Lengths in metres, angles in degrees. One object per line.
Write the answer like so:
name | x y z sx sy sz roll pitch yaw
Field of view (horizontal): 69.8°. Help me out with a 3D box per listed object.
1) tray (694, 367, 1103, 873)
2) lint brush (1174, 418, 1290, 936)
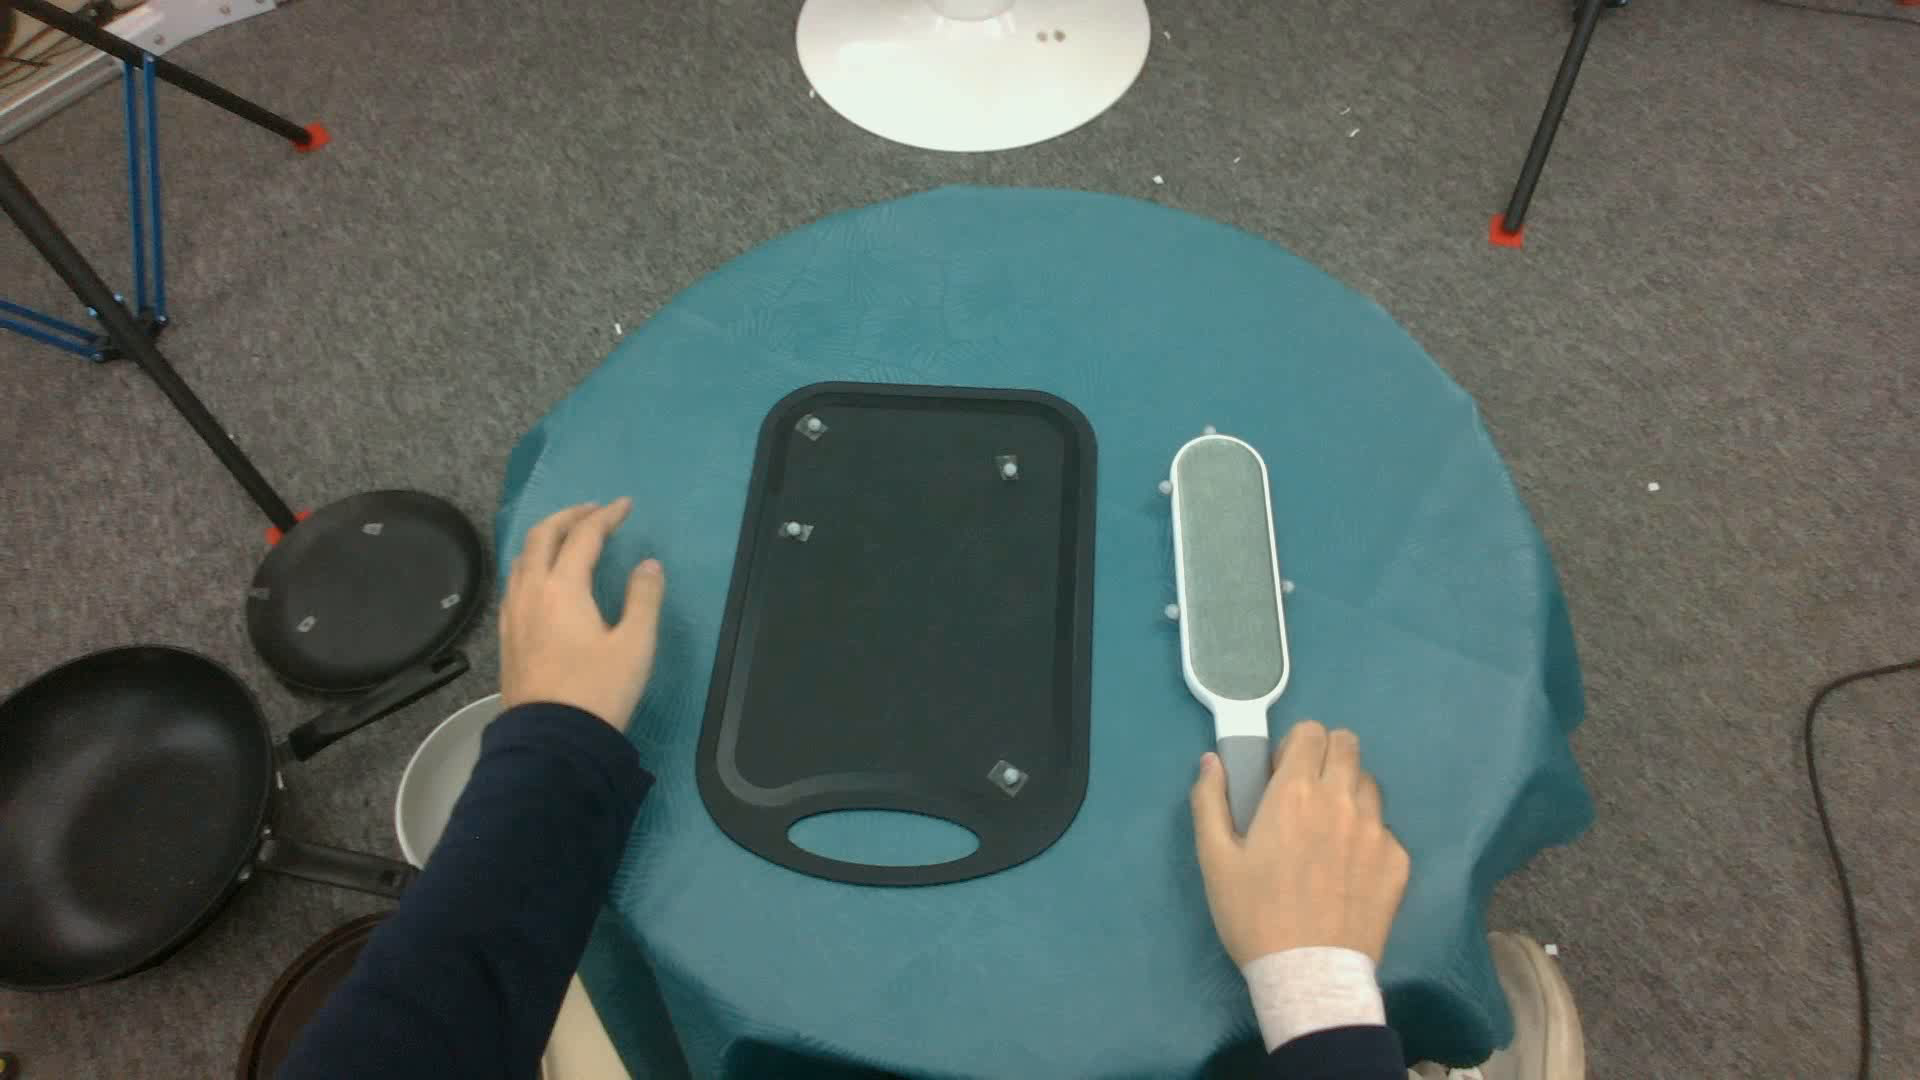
tray | -0.028 0.030 0.780 0.211 0.010 0.327 4 58 4
lint brush | 0.148 0.059 0.744 0.060 0.021 0.310 4 57 -2
